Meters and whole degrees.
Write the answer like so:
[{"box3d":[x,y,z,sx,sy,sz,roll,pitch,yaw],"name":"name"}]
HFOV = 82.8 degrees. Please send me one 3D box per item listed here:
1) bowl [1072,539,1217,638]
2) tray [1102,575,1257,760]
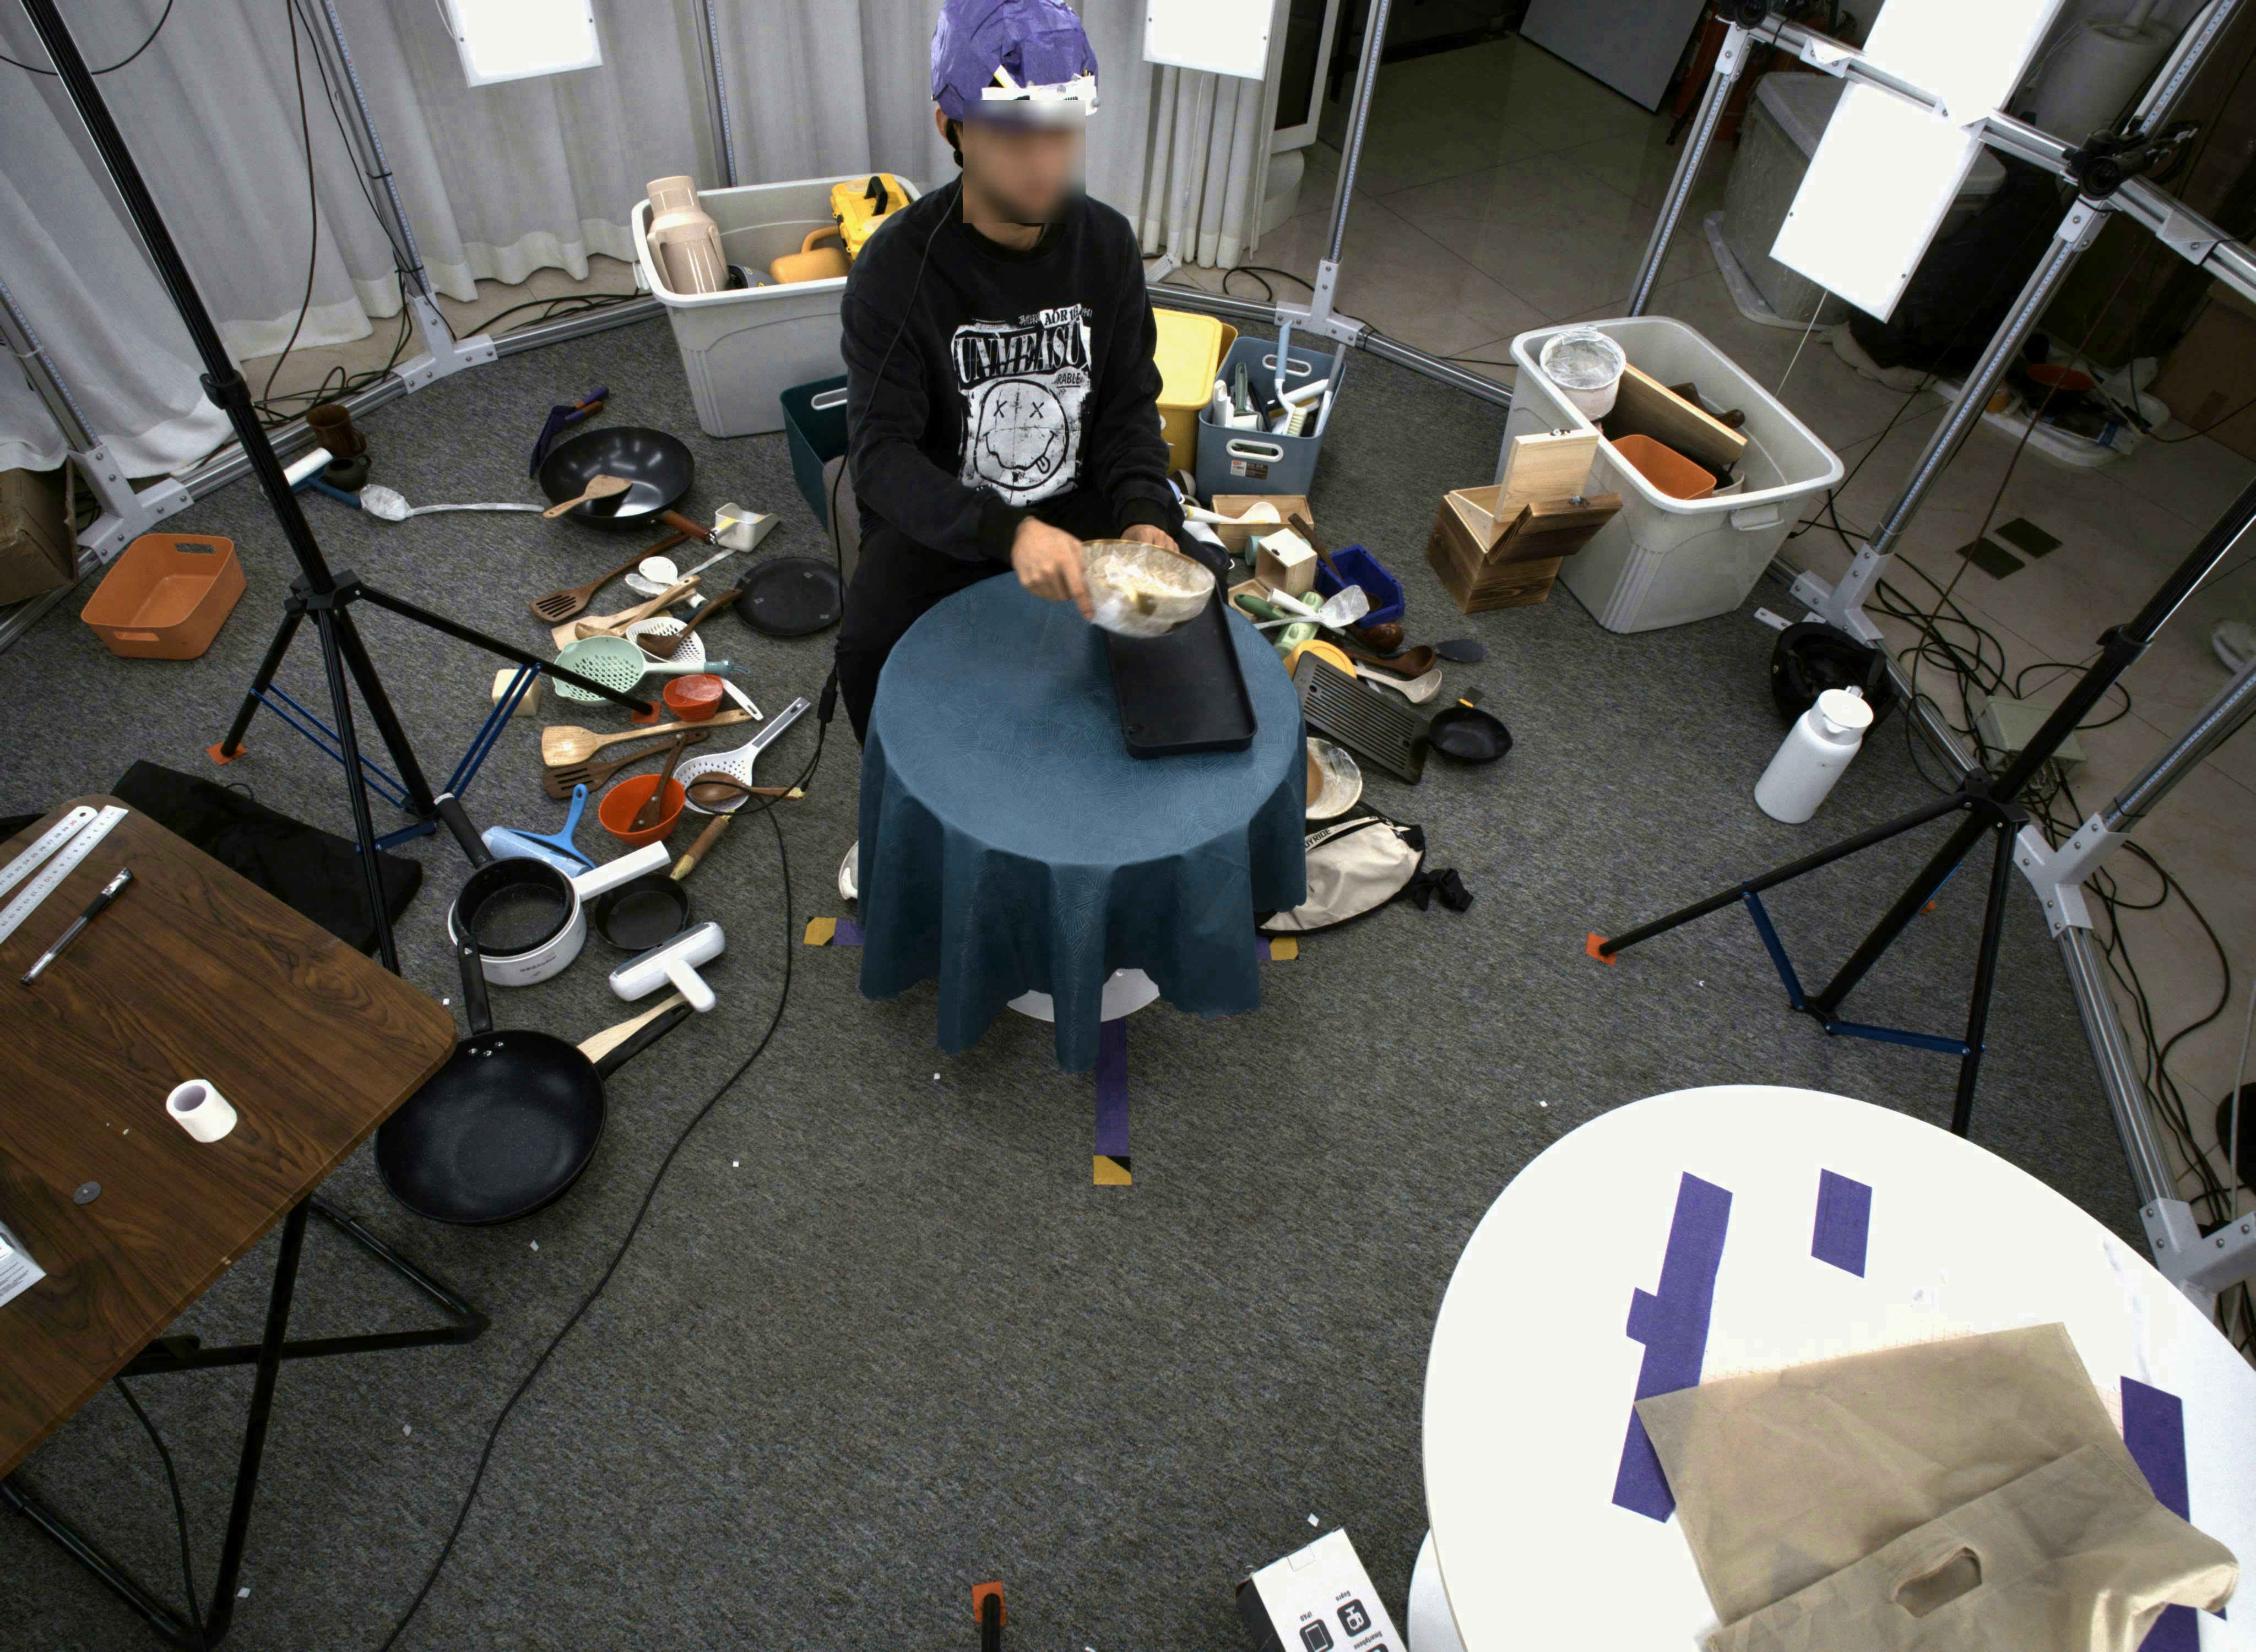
[{"box3d":[0.013,-0.320,1.785,0.214,0.093,0.219,9,29,-5],"name":"bowl"},{"box3d":[0.065,-0.234,1.848,0.184,0.036,0.326,-6,54,-7],"name":"tray"}]
